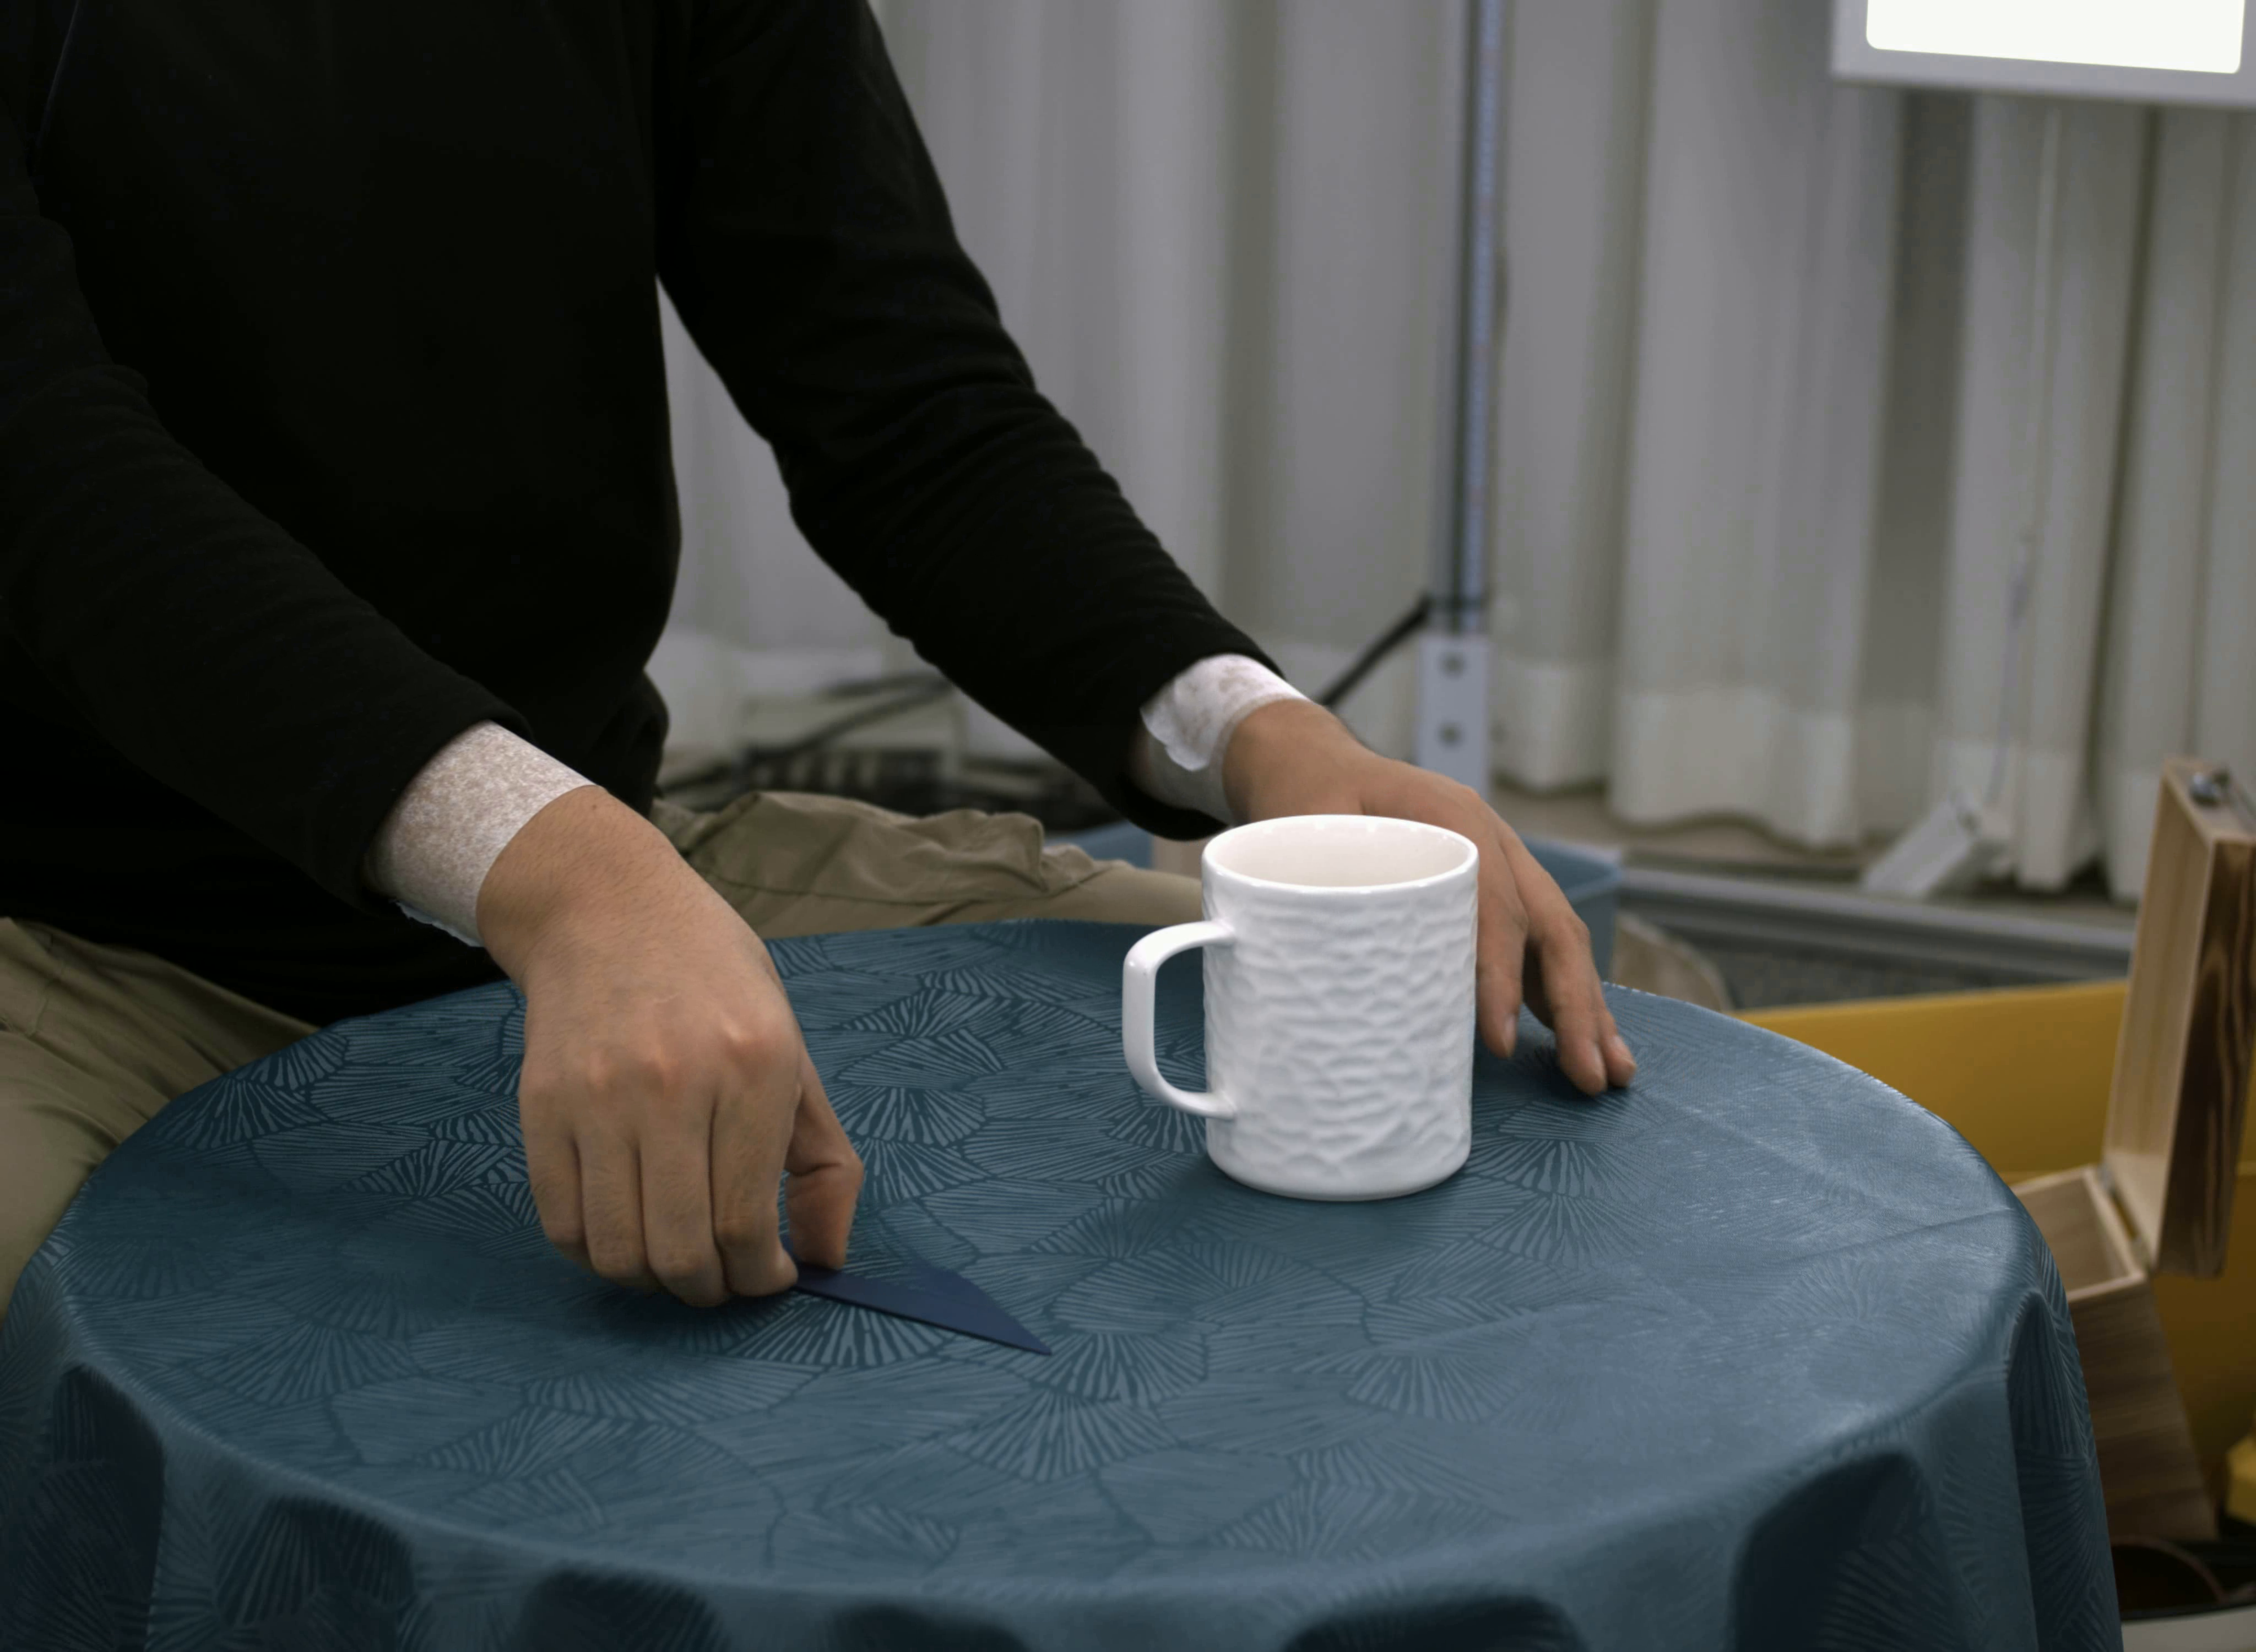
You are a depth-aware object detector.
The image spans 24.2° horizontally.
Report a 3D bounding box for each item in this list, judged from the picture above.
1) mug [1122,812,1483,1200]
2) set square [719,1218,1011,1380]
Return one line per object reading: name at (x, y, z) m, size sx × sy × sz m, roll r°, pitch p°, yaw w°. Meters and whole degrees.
mug at (0.052, 0.057, 1.627) m, size 0.119 × 0.103 × 0.084 m, roll -8°, pitch 18°, yaw -29°
set square at (-0.079, 0.138, 1.521) m, size 0.061 × 0.006 × 0.130 m, roll -6°, pitch 18°, yaw -20°
